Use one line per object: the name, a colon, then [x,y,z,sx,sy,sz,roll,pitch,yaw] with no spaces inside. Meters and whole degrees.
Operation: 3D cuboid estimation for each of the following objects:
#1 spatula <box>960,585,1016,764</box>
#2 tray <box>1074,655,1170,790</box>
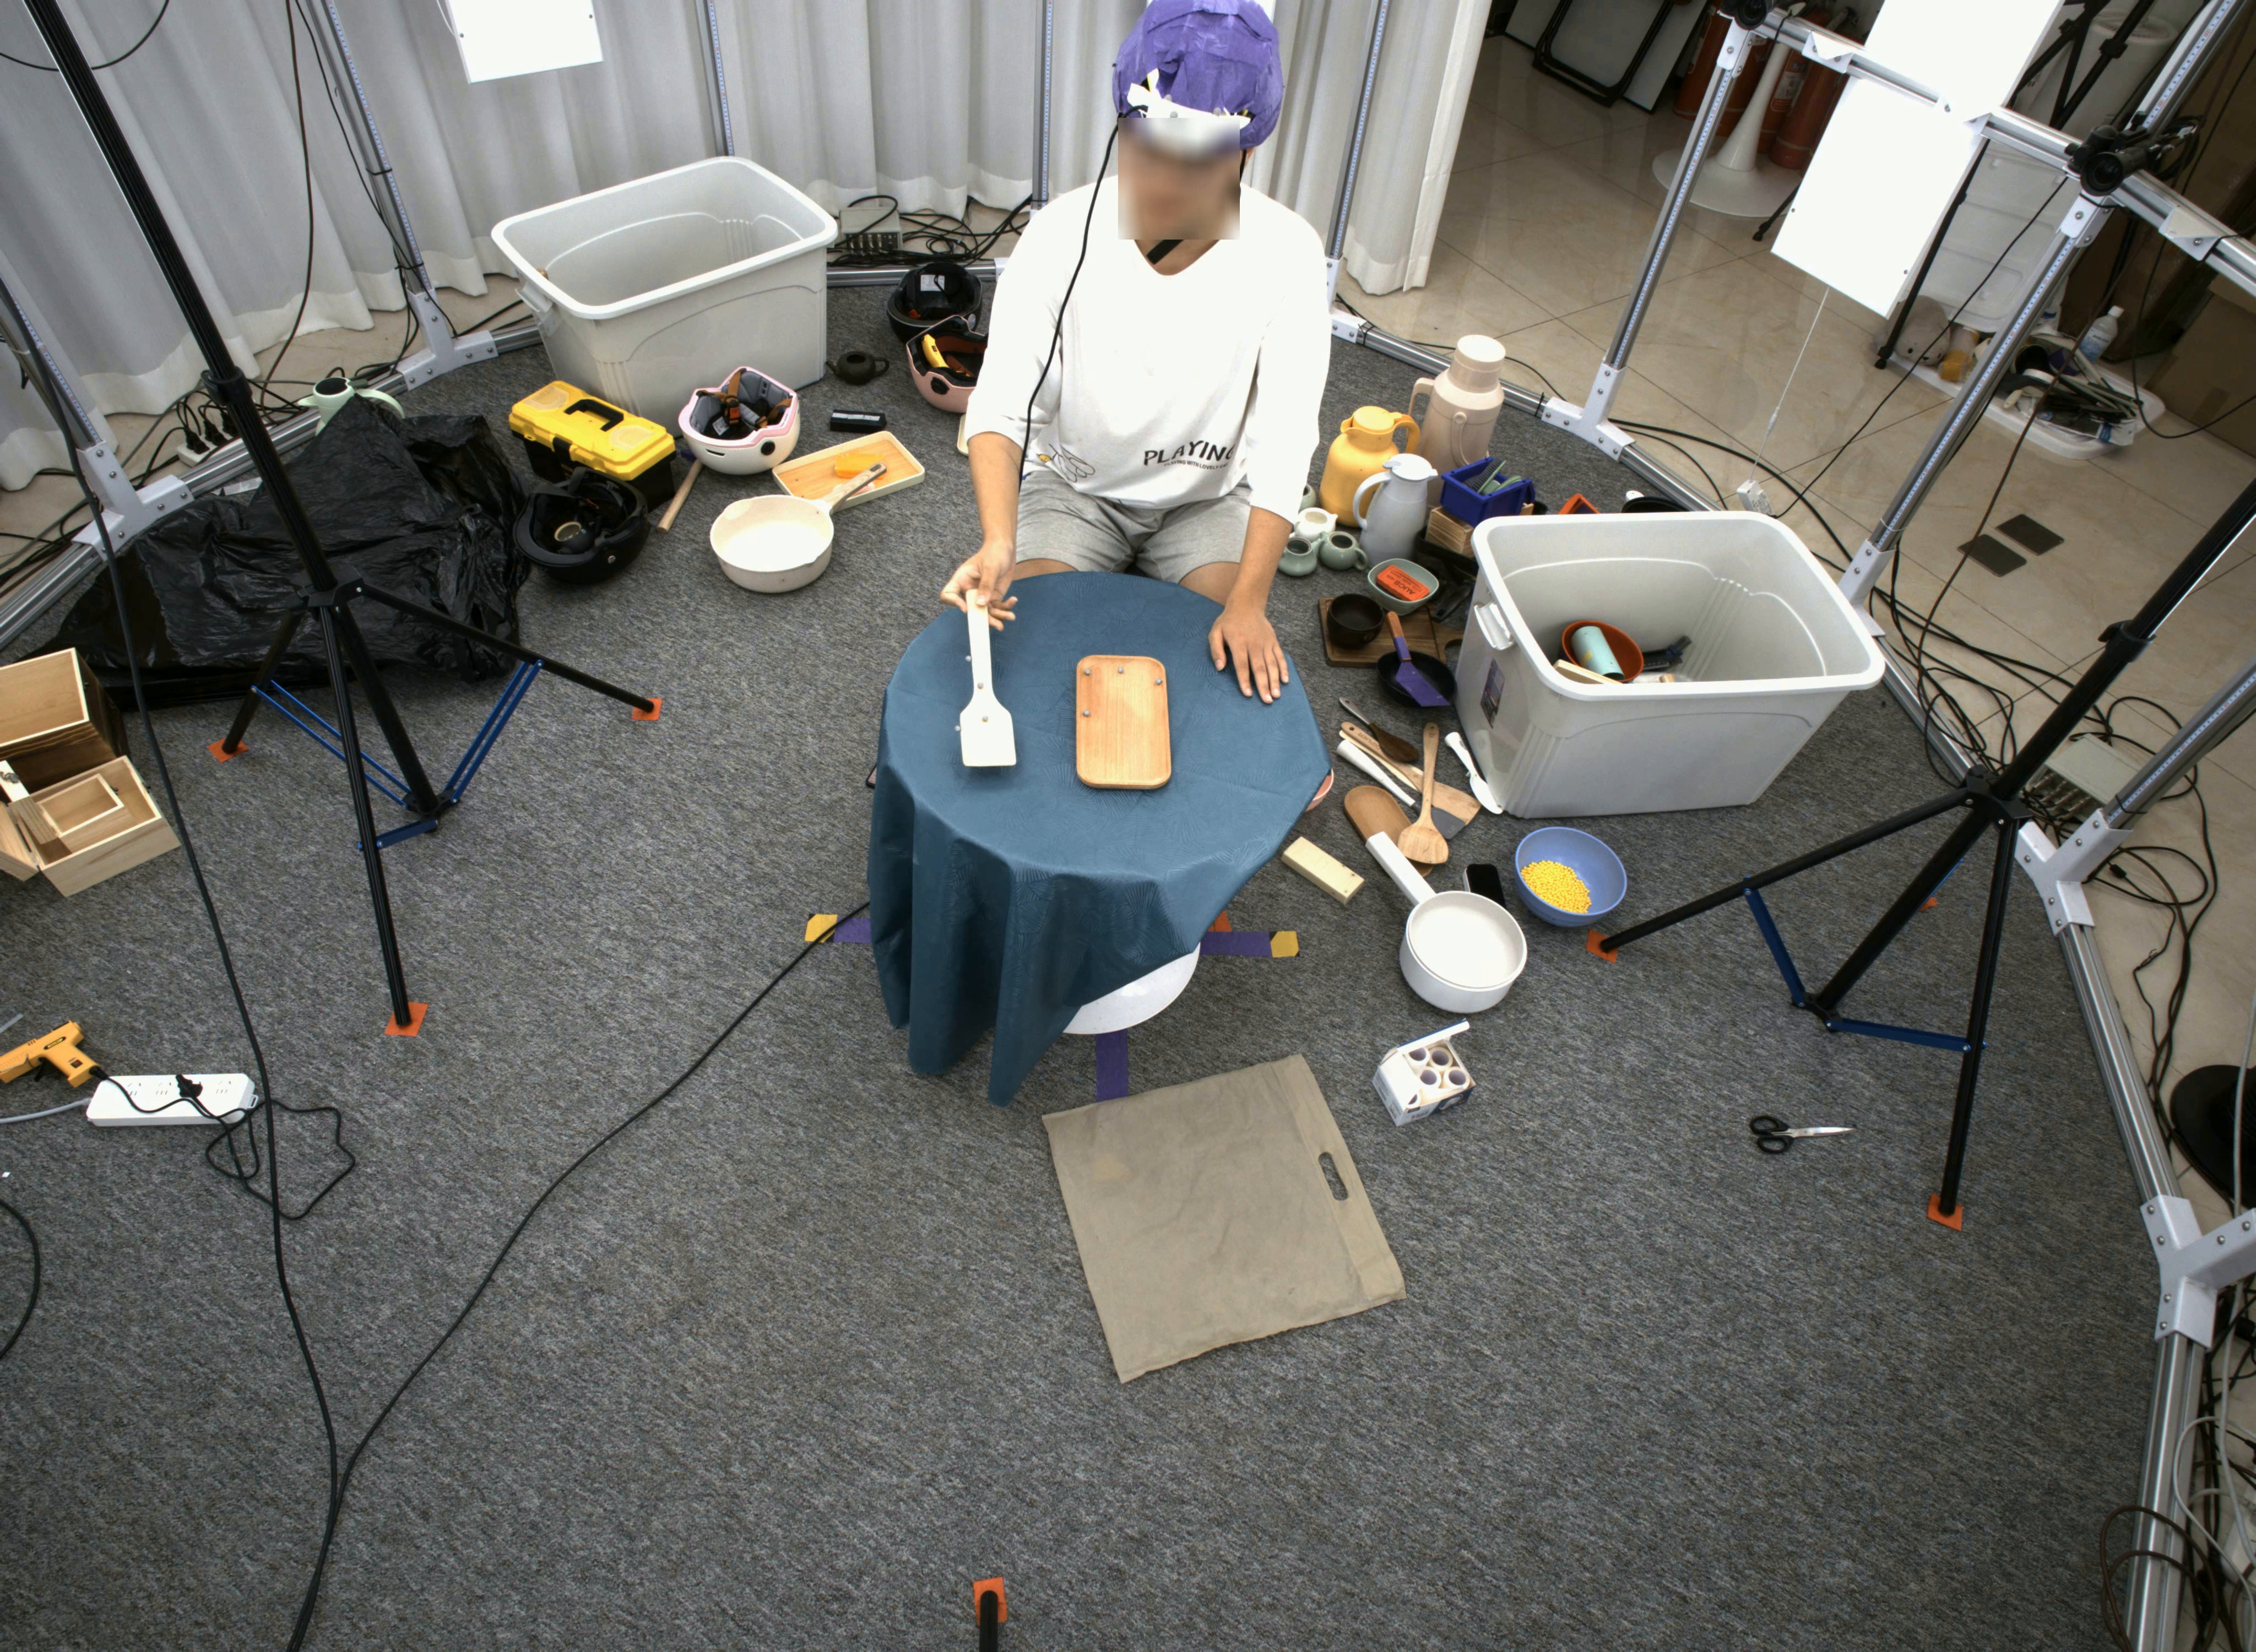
spatula: [-0.199,-0.211,1.755,0.072,0.010,0.299,-2,61,-10]
tray: [-0.009,-0.146,1.780,0.130,0.022,0.257,1,49,0]
